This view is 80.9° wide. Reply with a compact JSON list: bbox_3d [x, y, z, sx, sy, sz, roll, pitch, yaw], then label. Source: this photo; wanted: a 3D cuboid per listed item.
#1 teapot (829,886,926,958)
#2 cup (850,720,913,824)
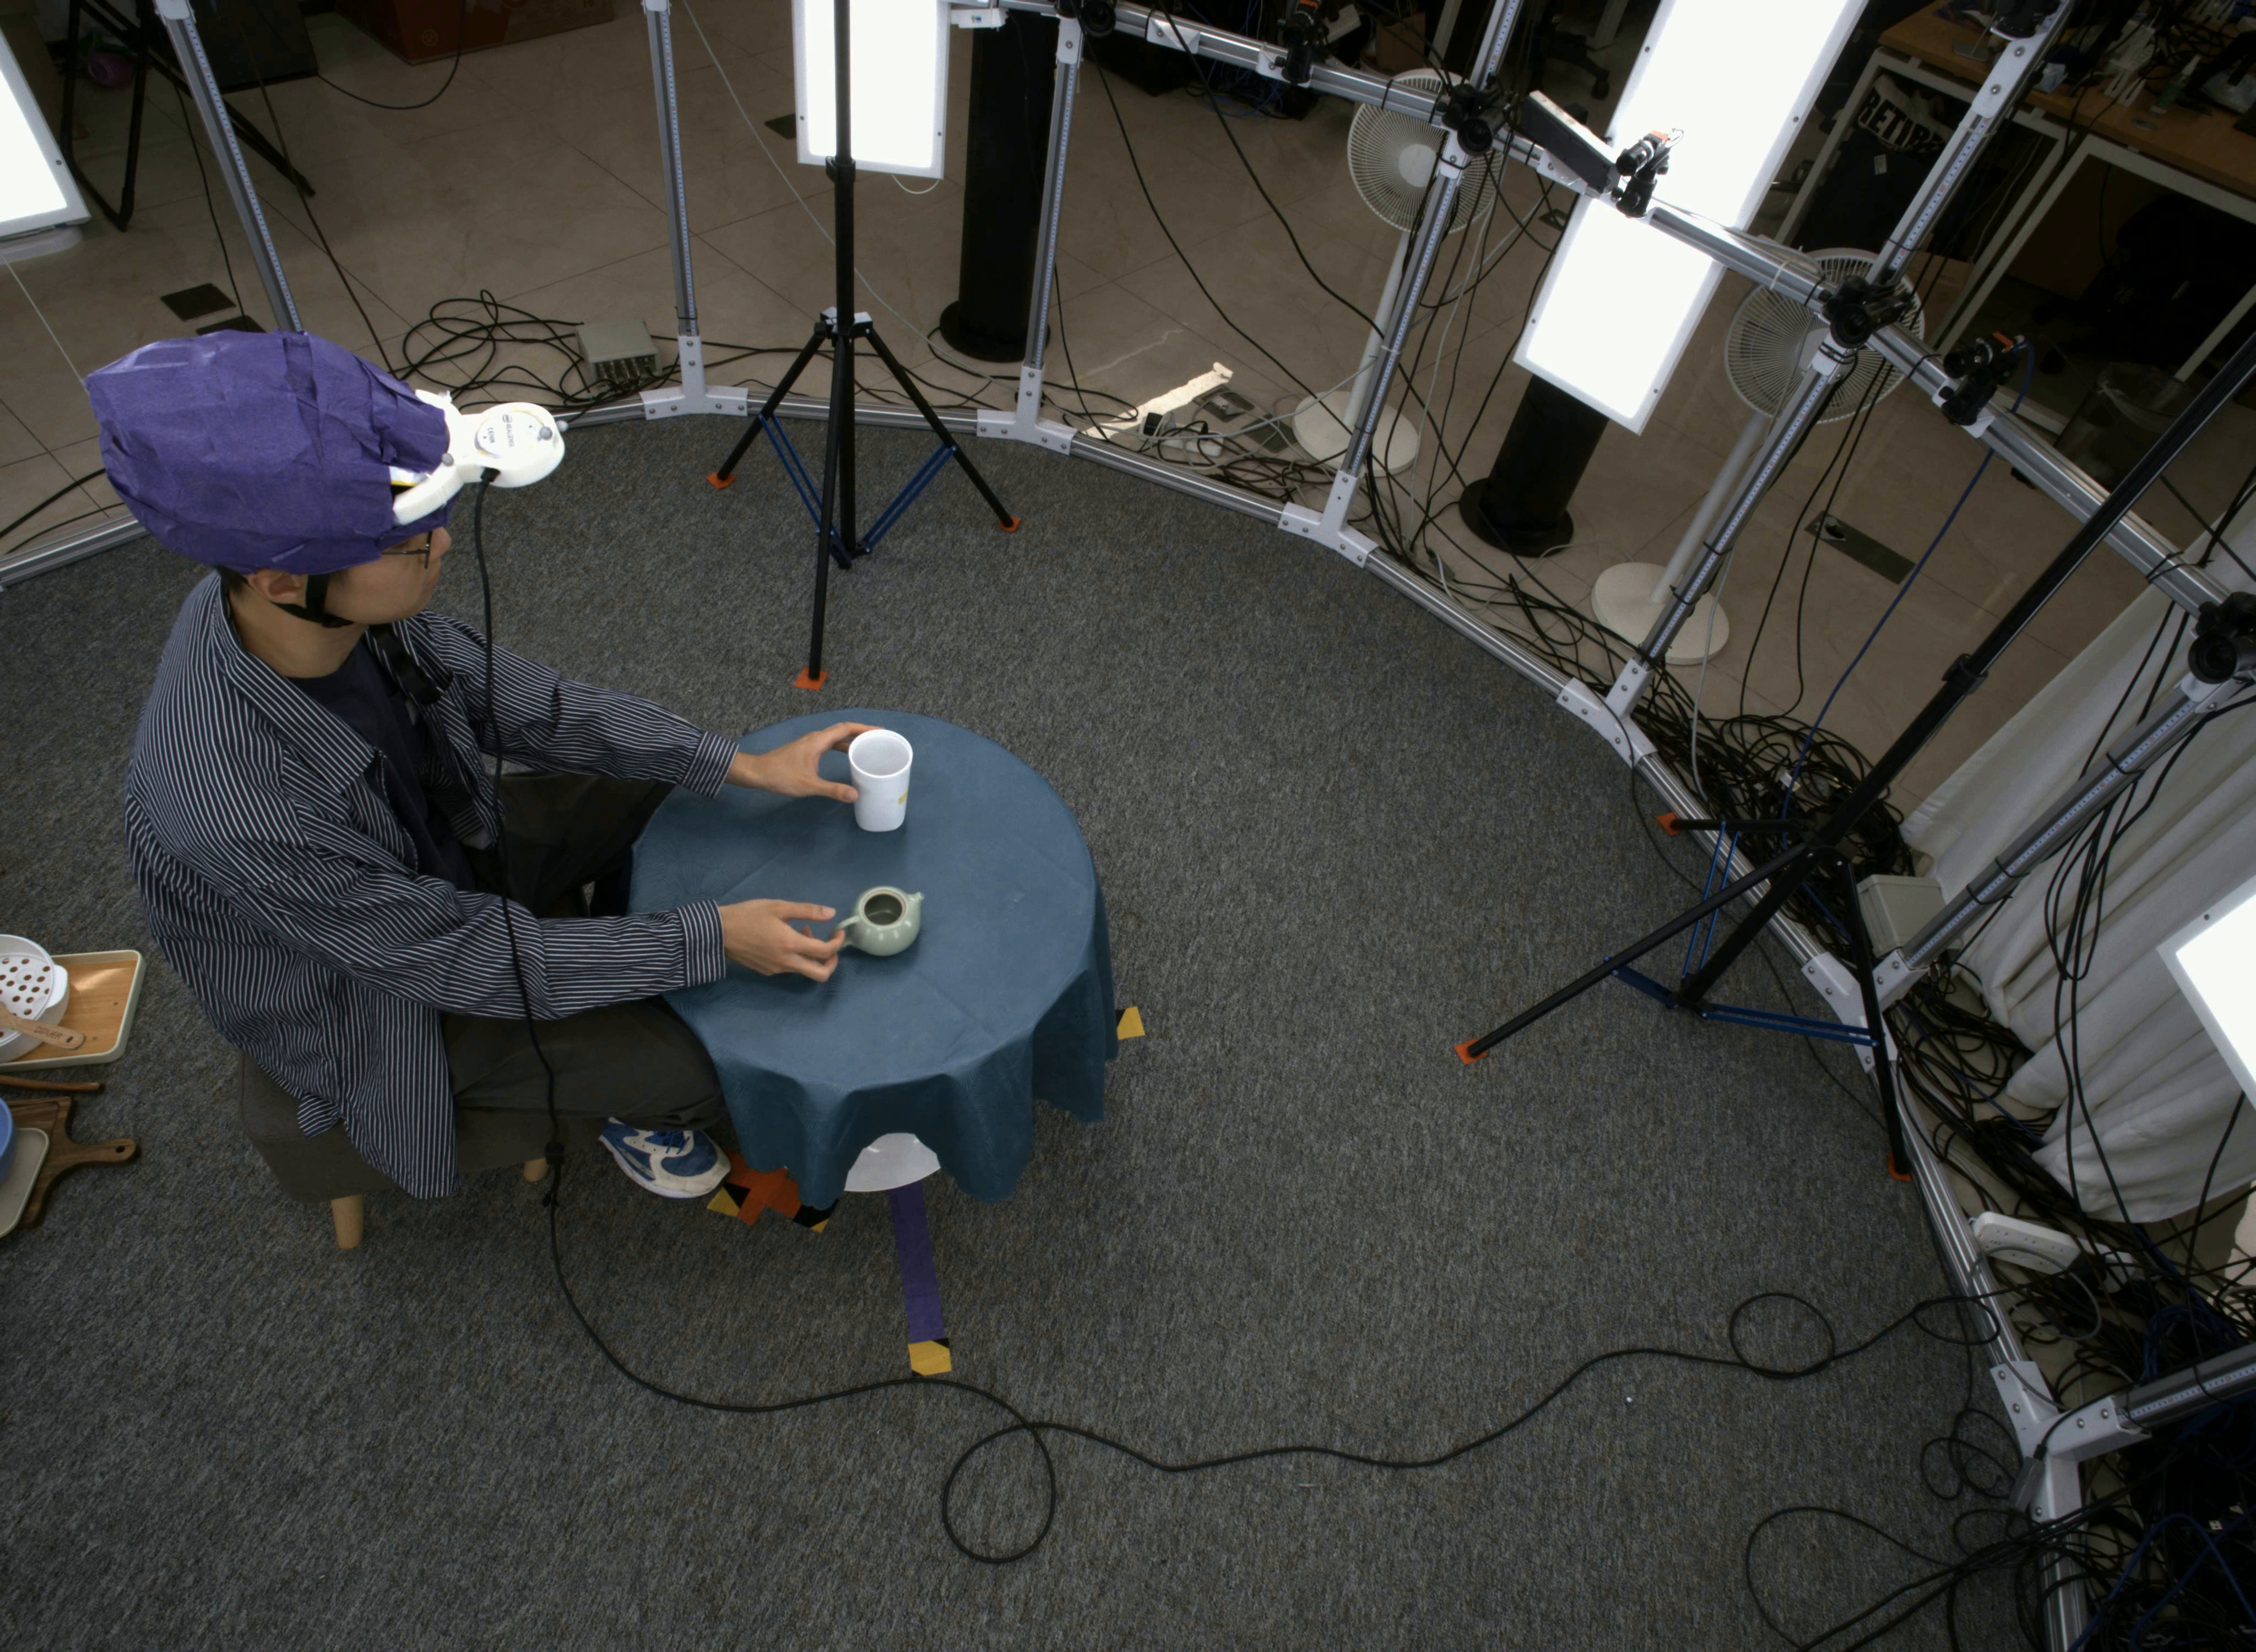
[{"bbox_3d":[-0.315,0.123,1.638,0.129,0.062,0.089,-17,60,-23],"label":"teapot"},{"bbox_3d":[-0.328,-0.068,1.731,0.081,0.128,0.080,6,52,-7],"label":"cup"}]
